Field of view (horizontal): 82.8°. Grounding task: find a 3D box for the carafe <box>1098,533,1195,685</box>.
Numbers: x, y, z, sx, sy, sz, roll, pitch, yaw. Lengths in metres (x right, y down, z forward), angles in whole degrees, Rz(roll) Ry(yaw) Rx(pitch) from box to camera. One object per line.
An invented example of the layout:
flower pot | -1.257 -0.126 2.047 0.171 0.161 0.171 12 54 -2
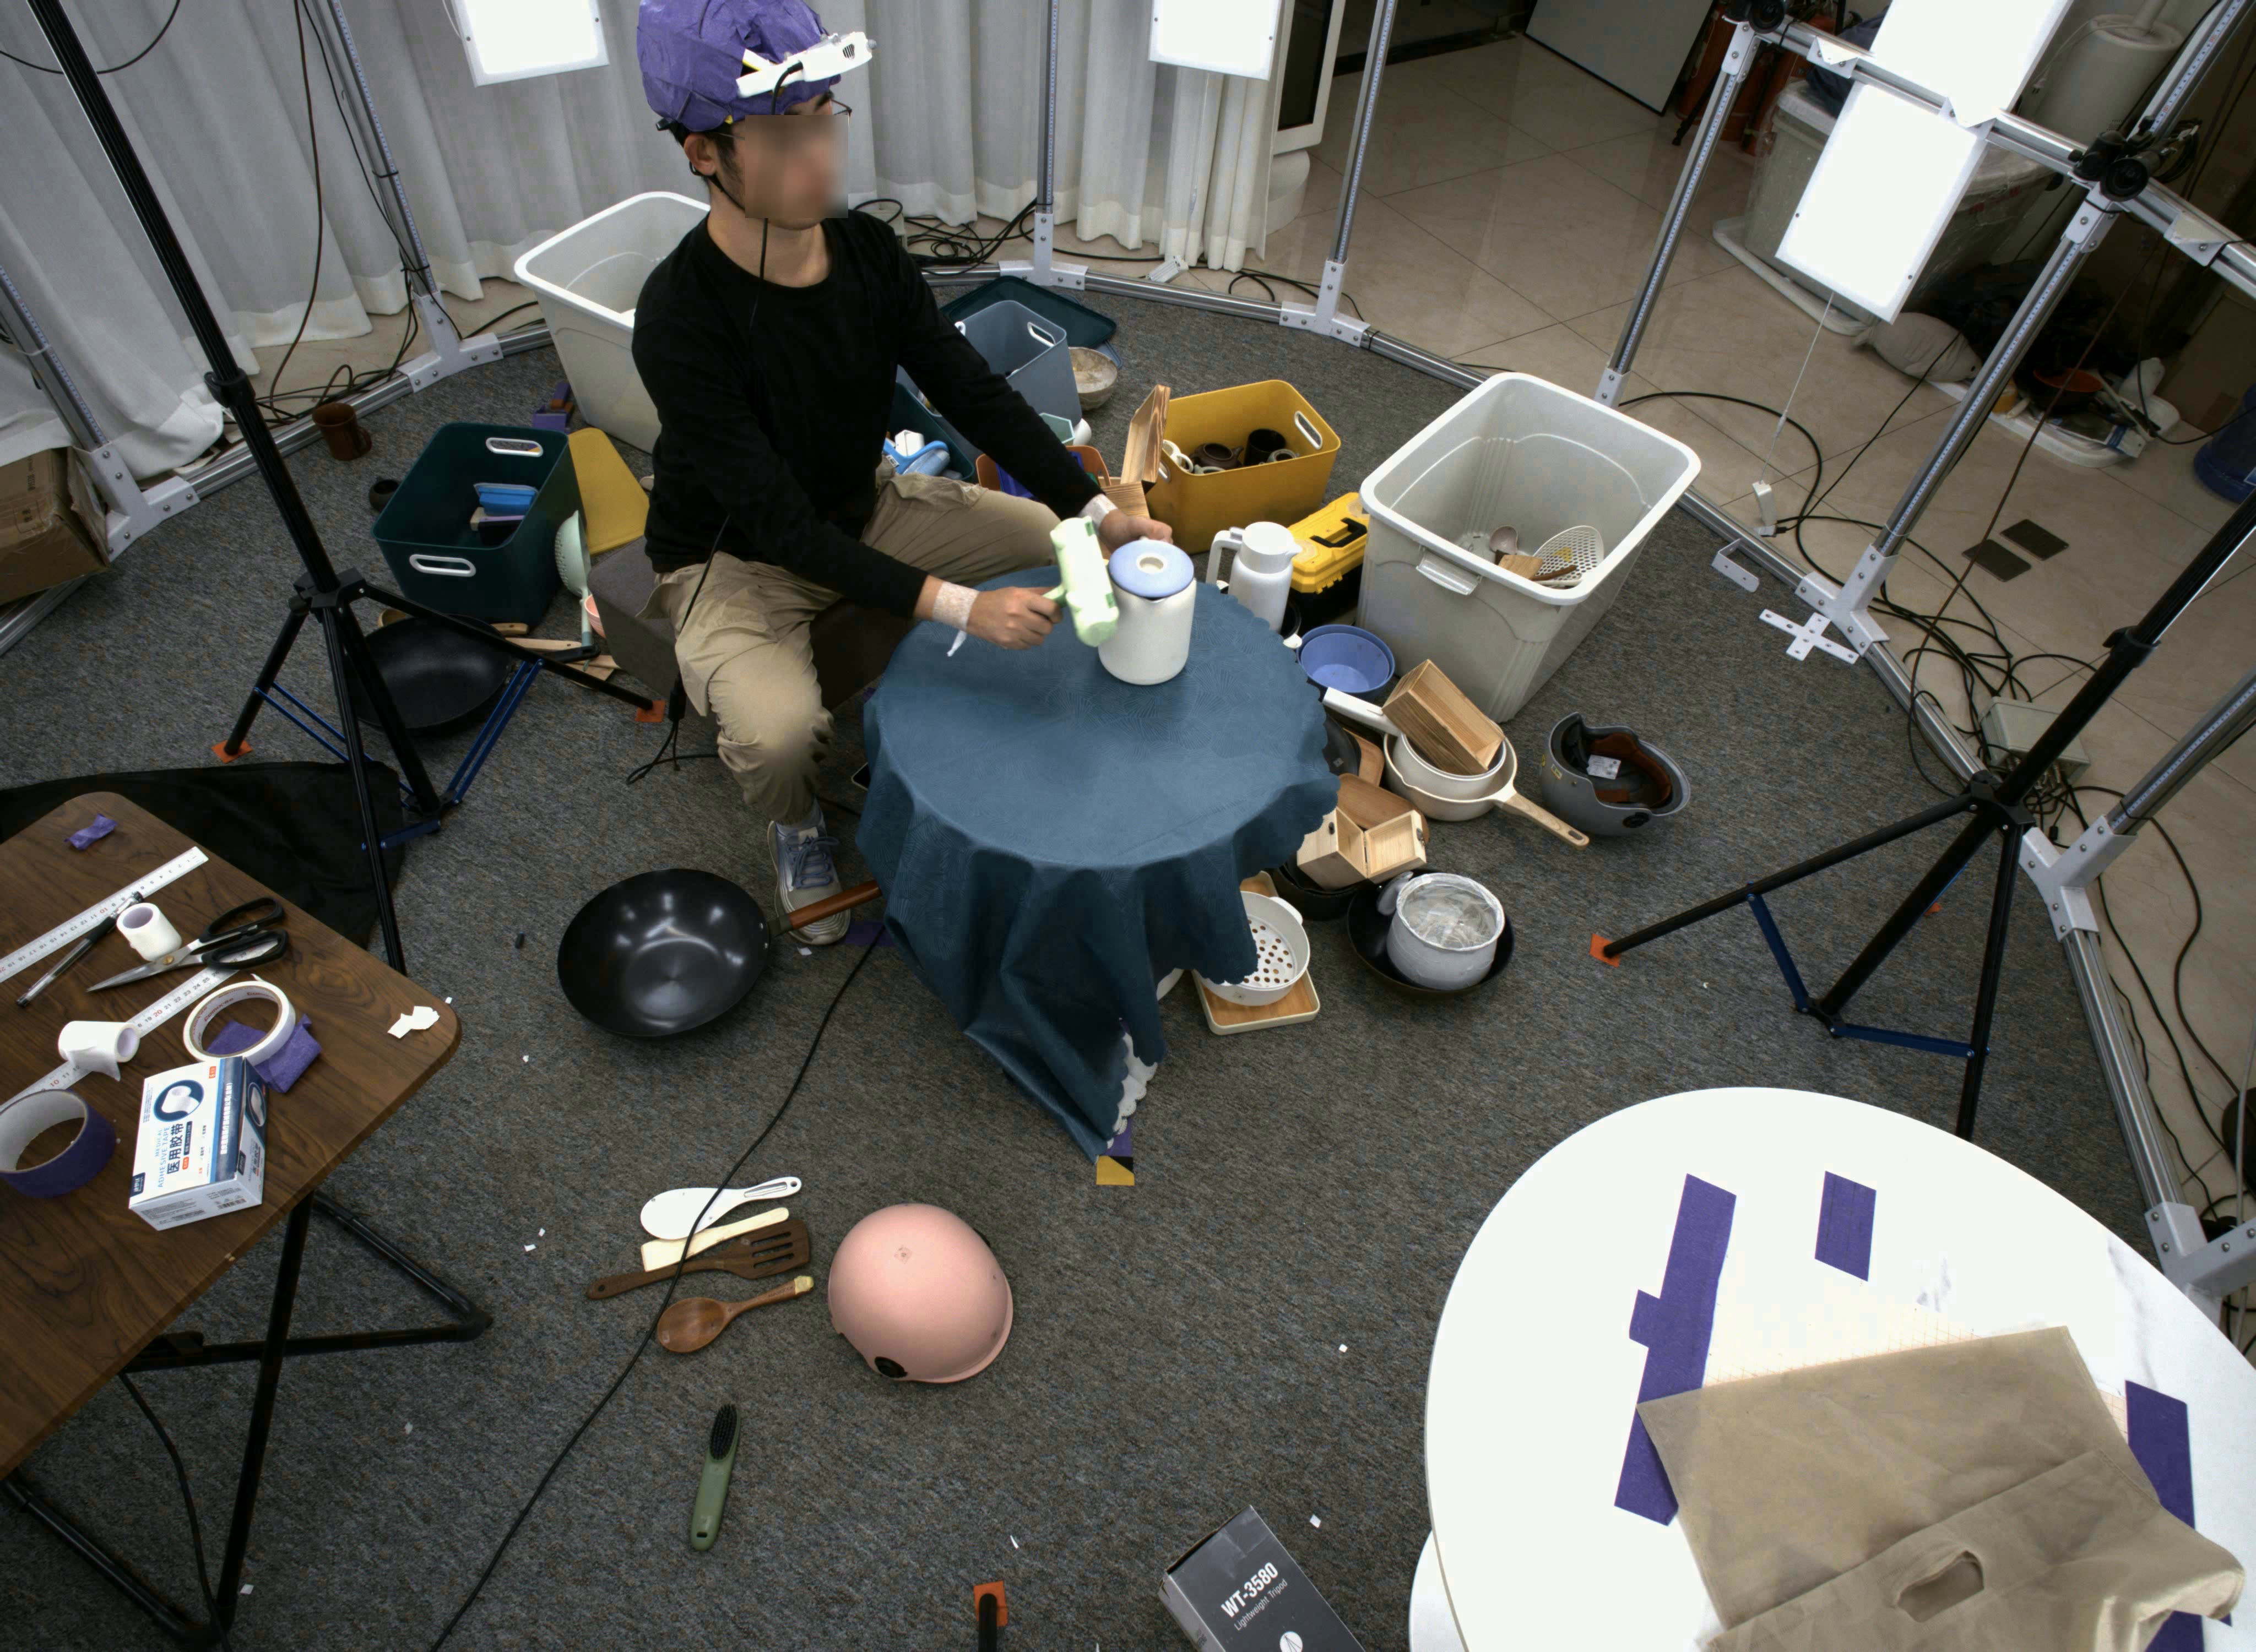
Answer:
carafe | 0.024 -0.321 1.839 0.132 0.178 0.196 0 48 -6

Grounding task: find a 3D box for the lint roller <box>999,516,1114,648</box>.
lint roller | -0.114 -0.311 1.740 0.182 0.080 0.203 -25 54 17
